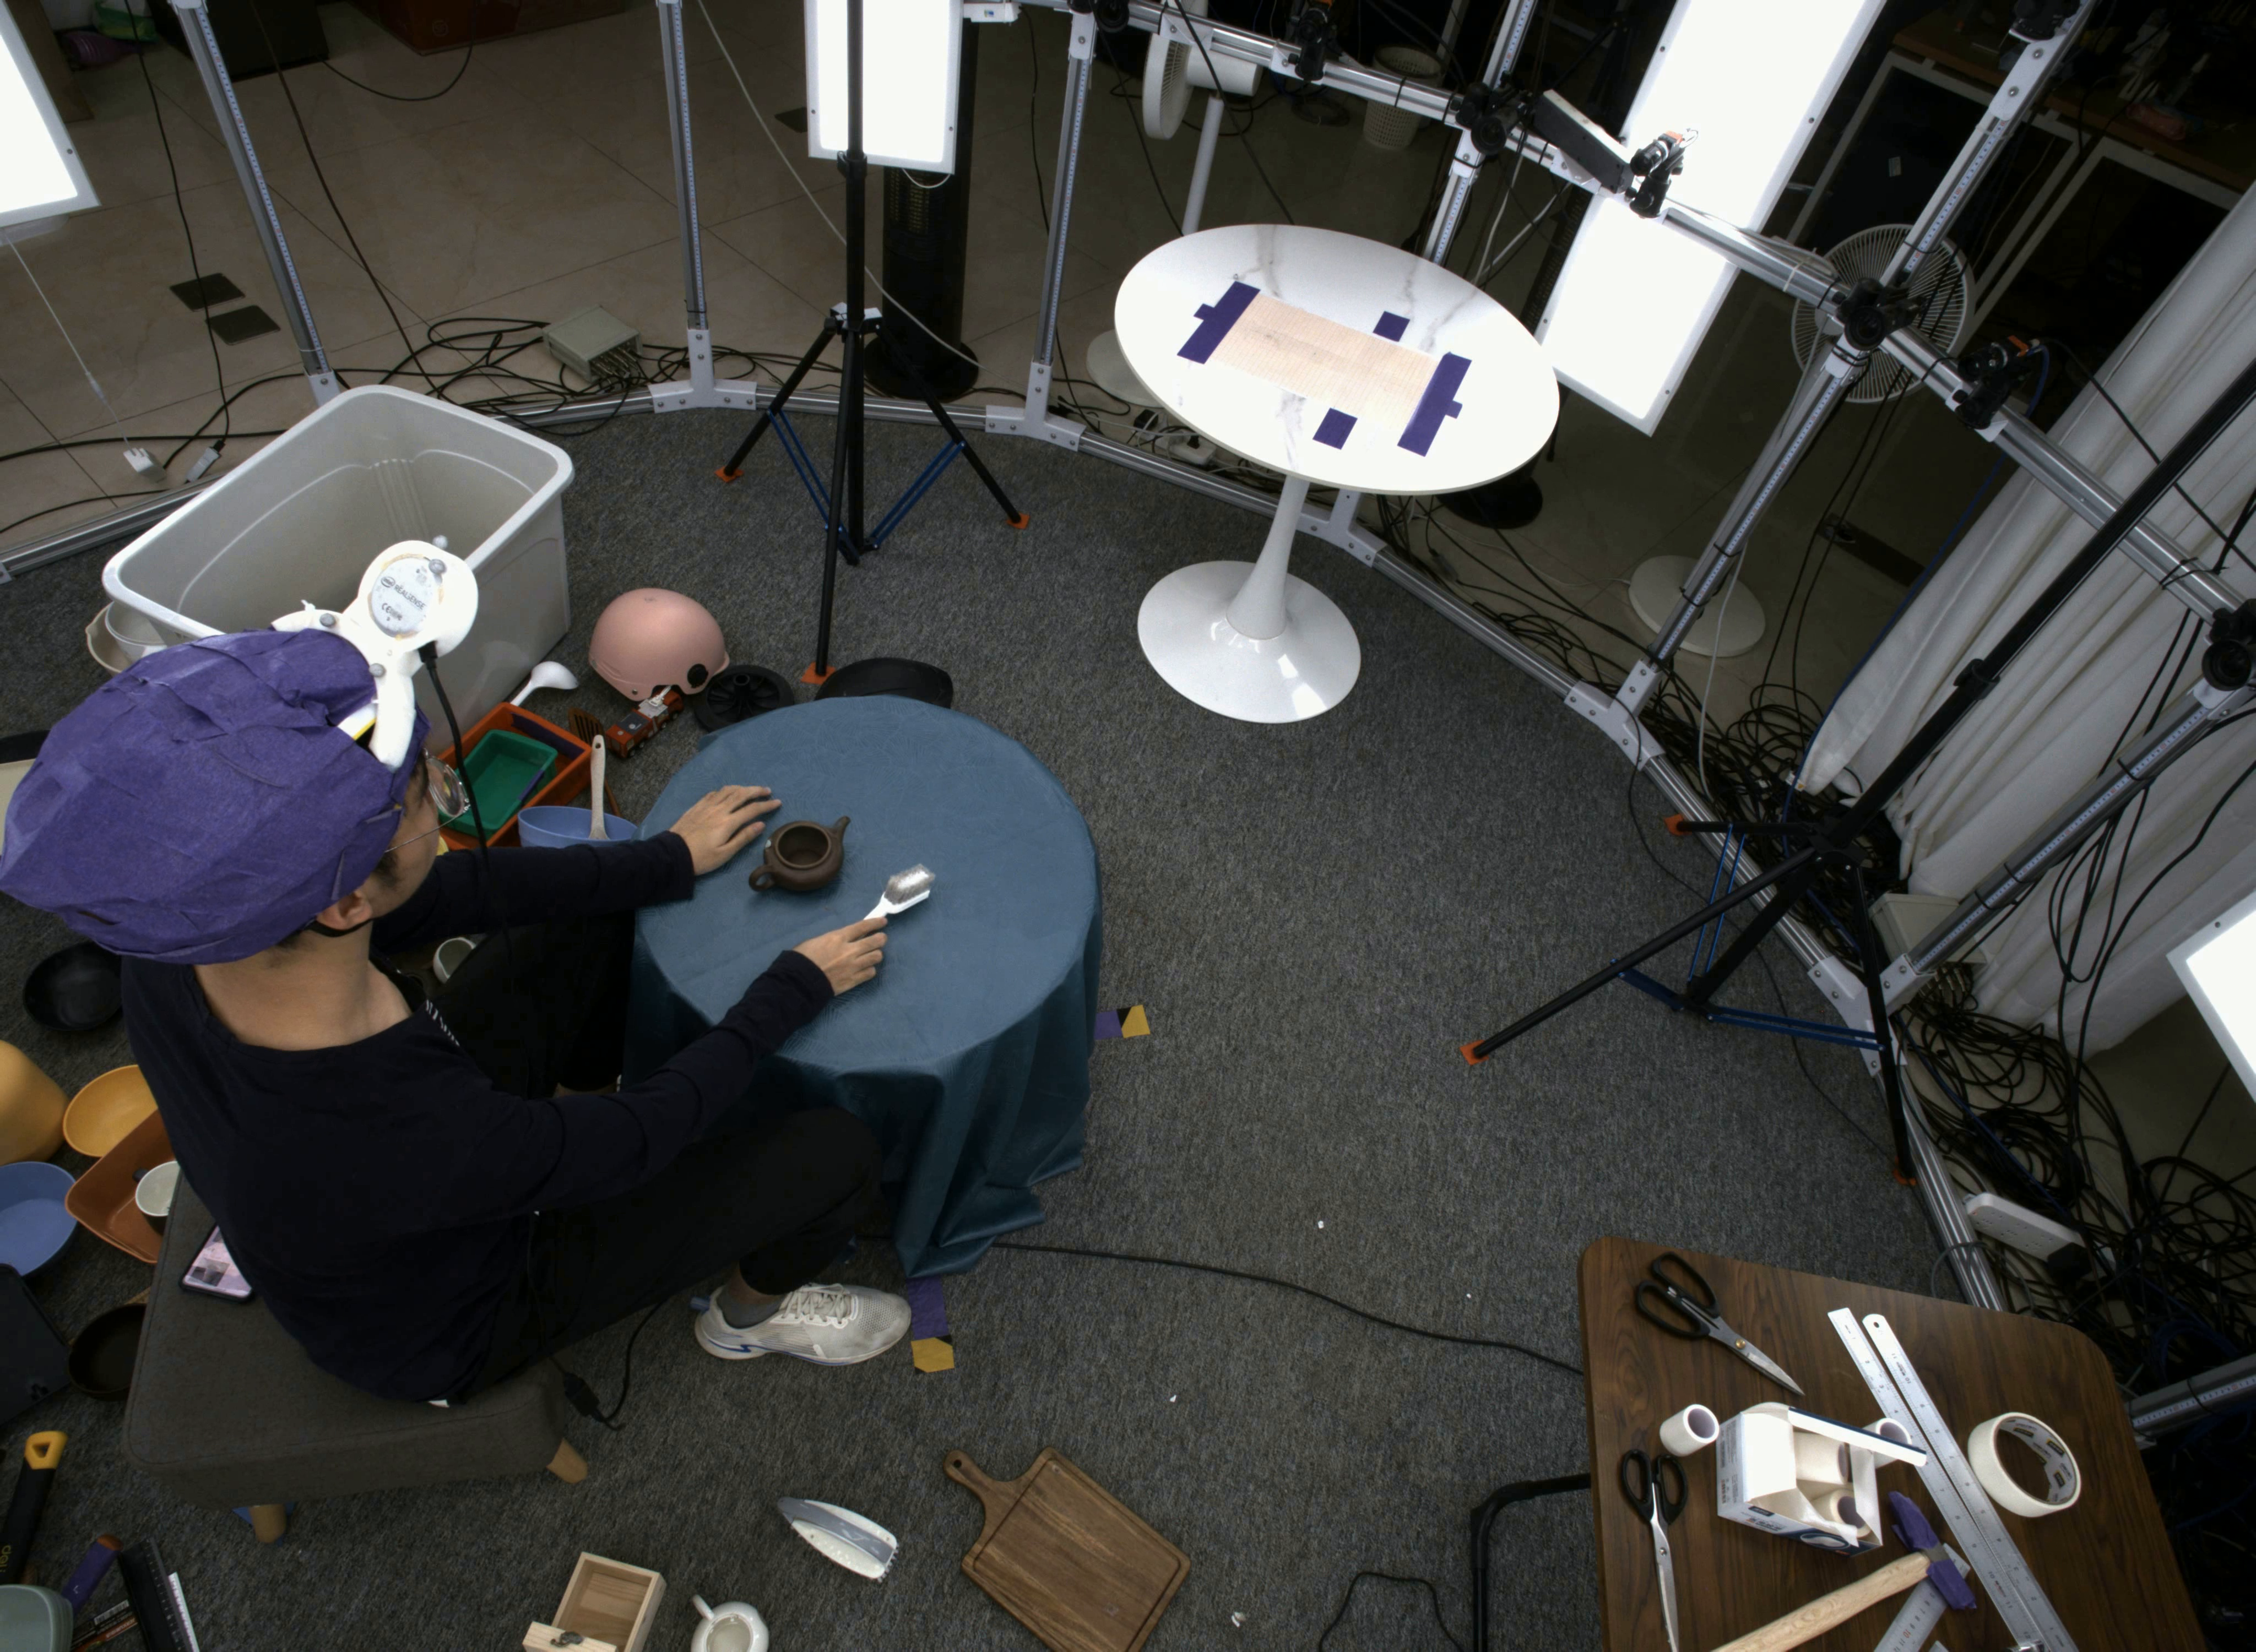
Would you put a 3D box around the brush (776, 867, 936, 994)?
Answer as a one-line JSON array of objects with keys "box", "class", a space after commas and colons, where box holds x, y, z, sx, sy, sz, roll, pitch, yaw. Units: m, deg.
[{"box": [-0.339, 0.125, 1.624, 0.033, 0.051, 0.244, 42, 56, 18], "class": "brush"}]

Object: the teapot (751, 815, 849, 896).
[{"box": [-0.419, 0.040, 1.663, 0.100, 0.055, 0.153, 38, 54, 16], "class": "teapot"}]
